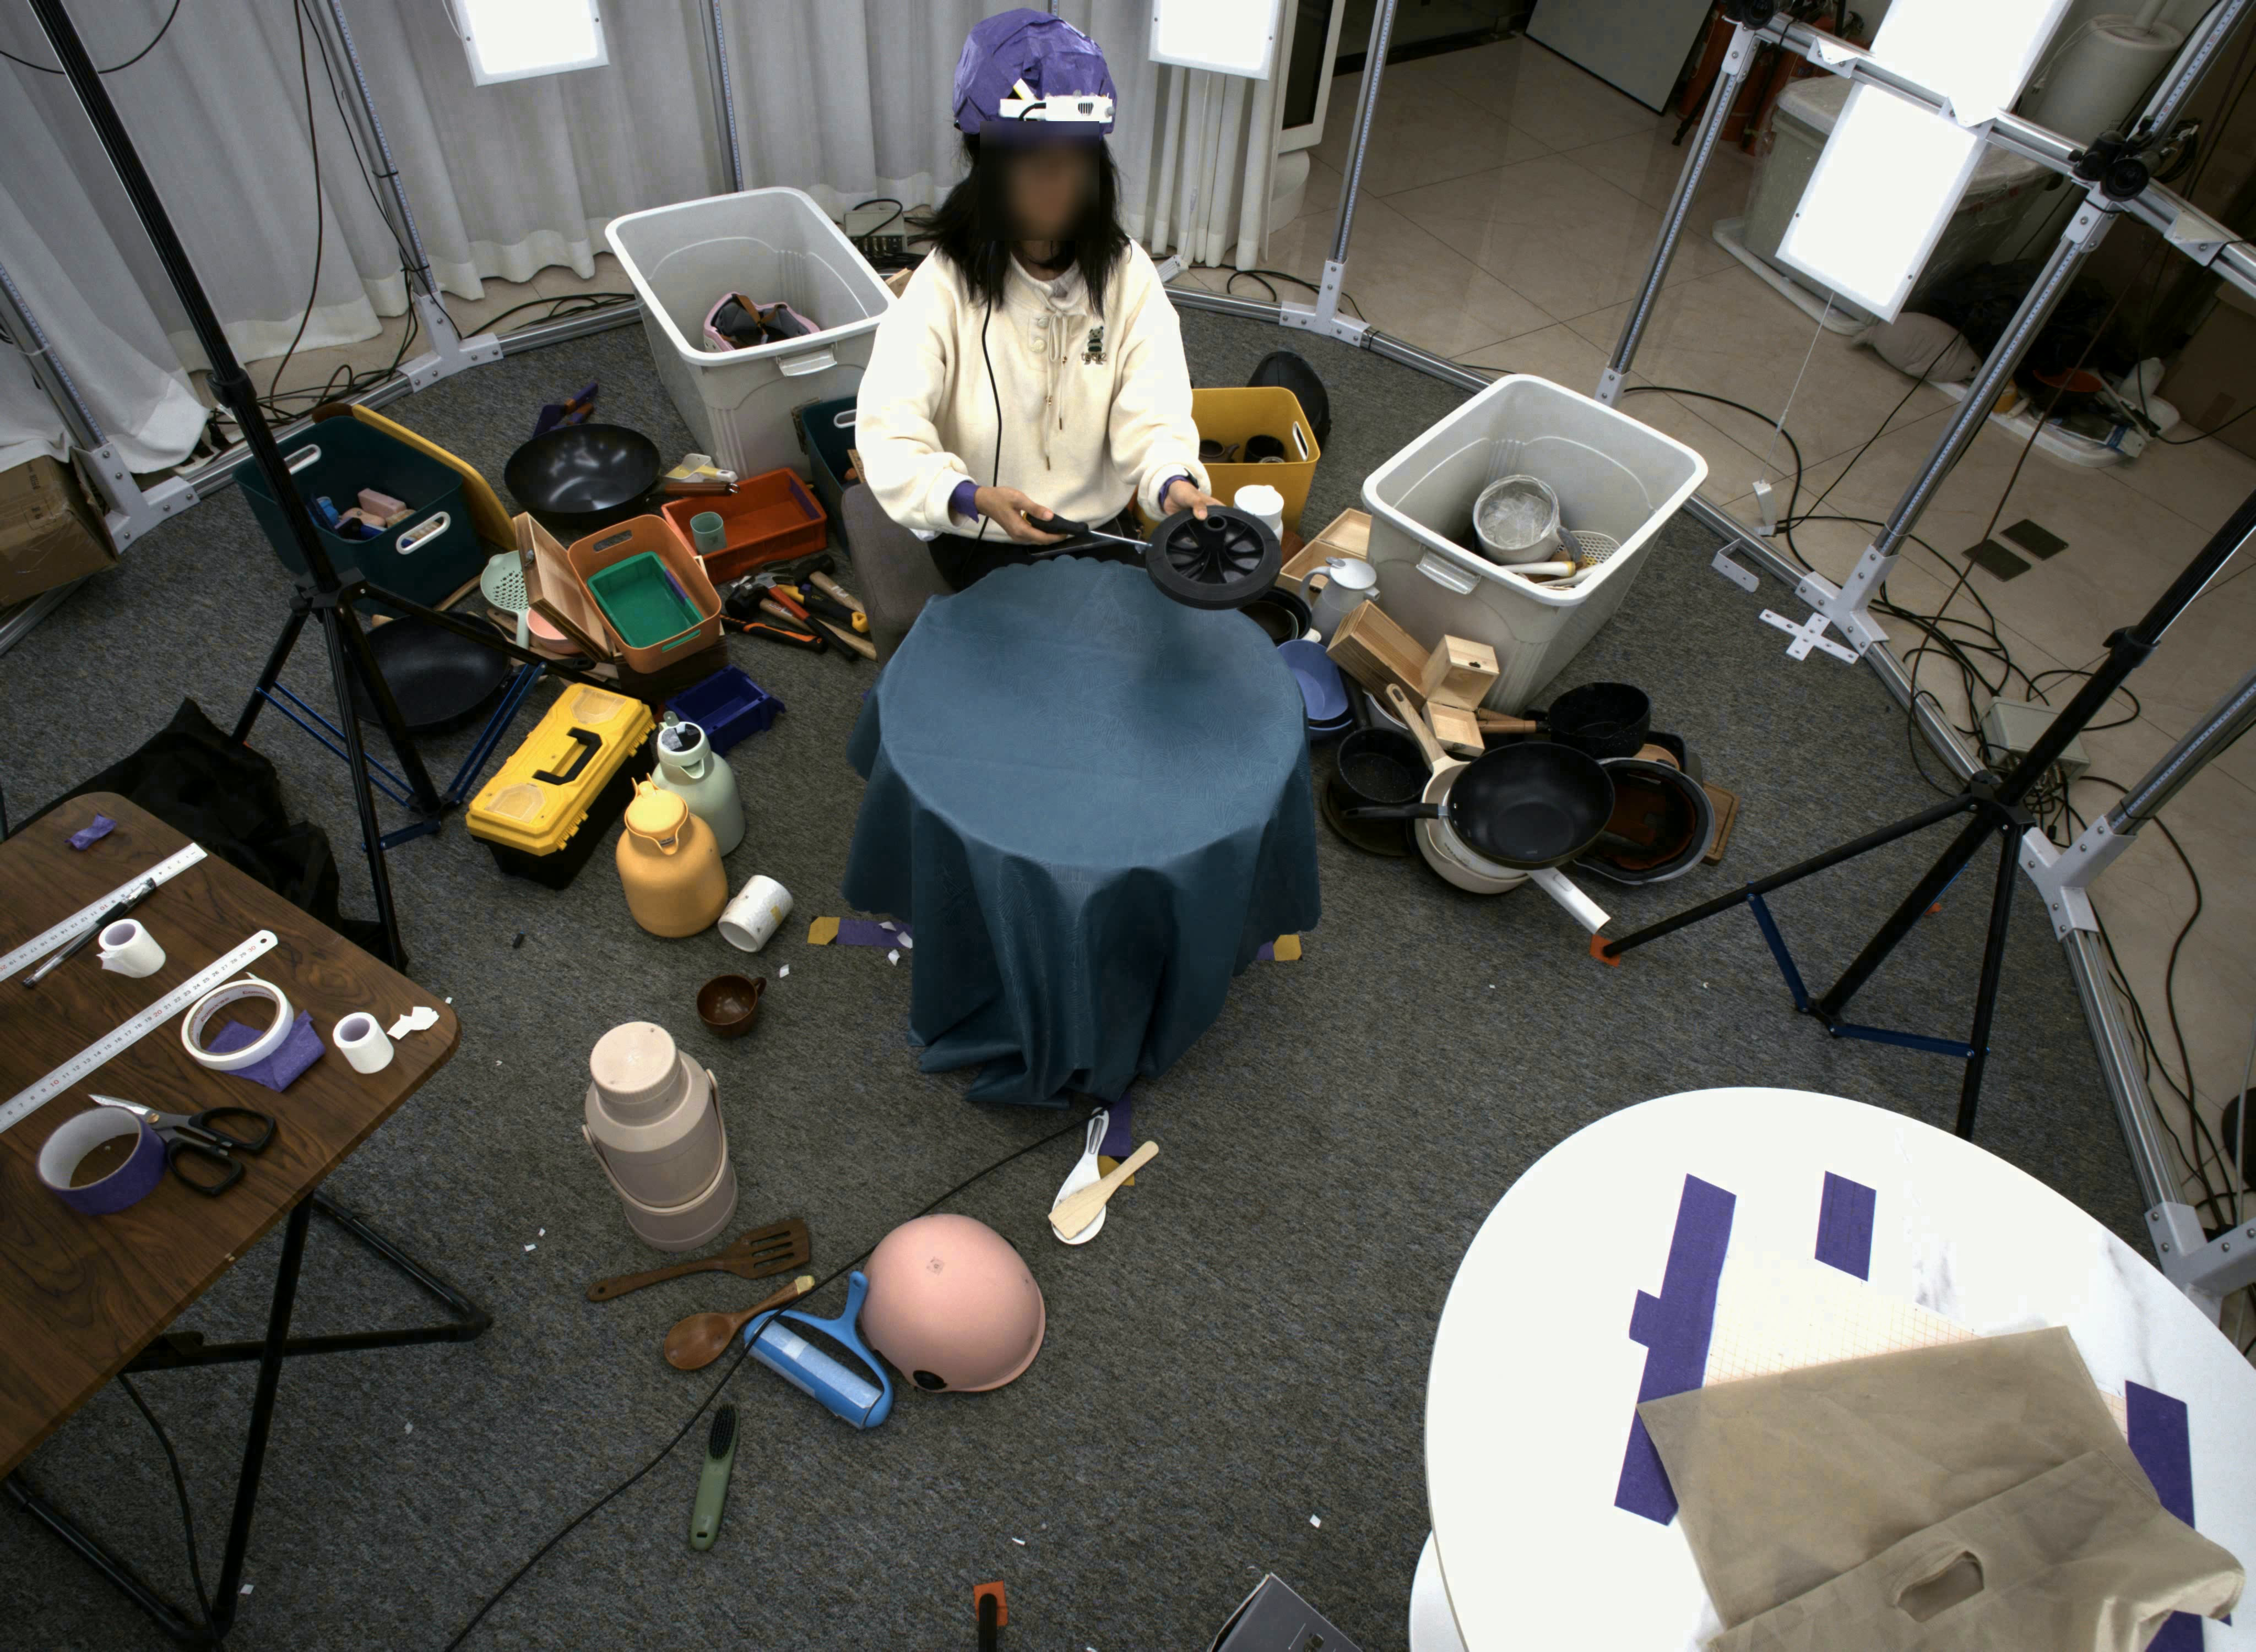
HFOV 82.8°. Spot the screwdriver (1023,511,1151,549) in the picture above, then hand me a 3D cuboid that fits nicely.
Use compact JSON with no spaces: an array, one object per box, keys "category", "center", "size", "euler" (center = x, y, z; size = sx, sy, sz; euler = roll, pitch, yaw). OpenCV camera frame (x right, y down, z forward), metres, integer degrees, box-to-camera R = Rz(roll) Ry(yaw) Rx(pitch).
[{"category":"screwdriver","center":[-0.057,-0.410,1.807],"size":[0.199,0.031,0.032],"euler":[18,50,17]}]

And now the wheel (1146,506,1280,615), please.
[{"category":"wheel","center":[0.117,-0.381,1.765],"size":[0.188,0.077,0.193],"euler":[19,59,14]}]
